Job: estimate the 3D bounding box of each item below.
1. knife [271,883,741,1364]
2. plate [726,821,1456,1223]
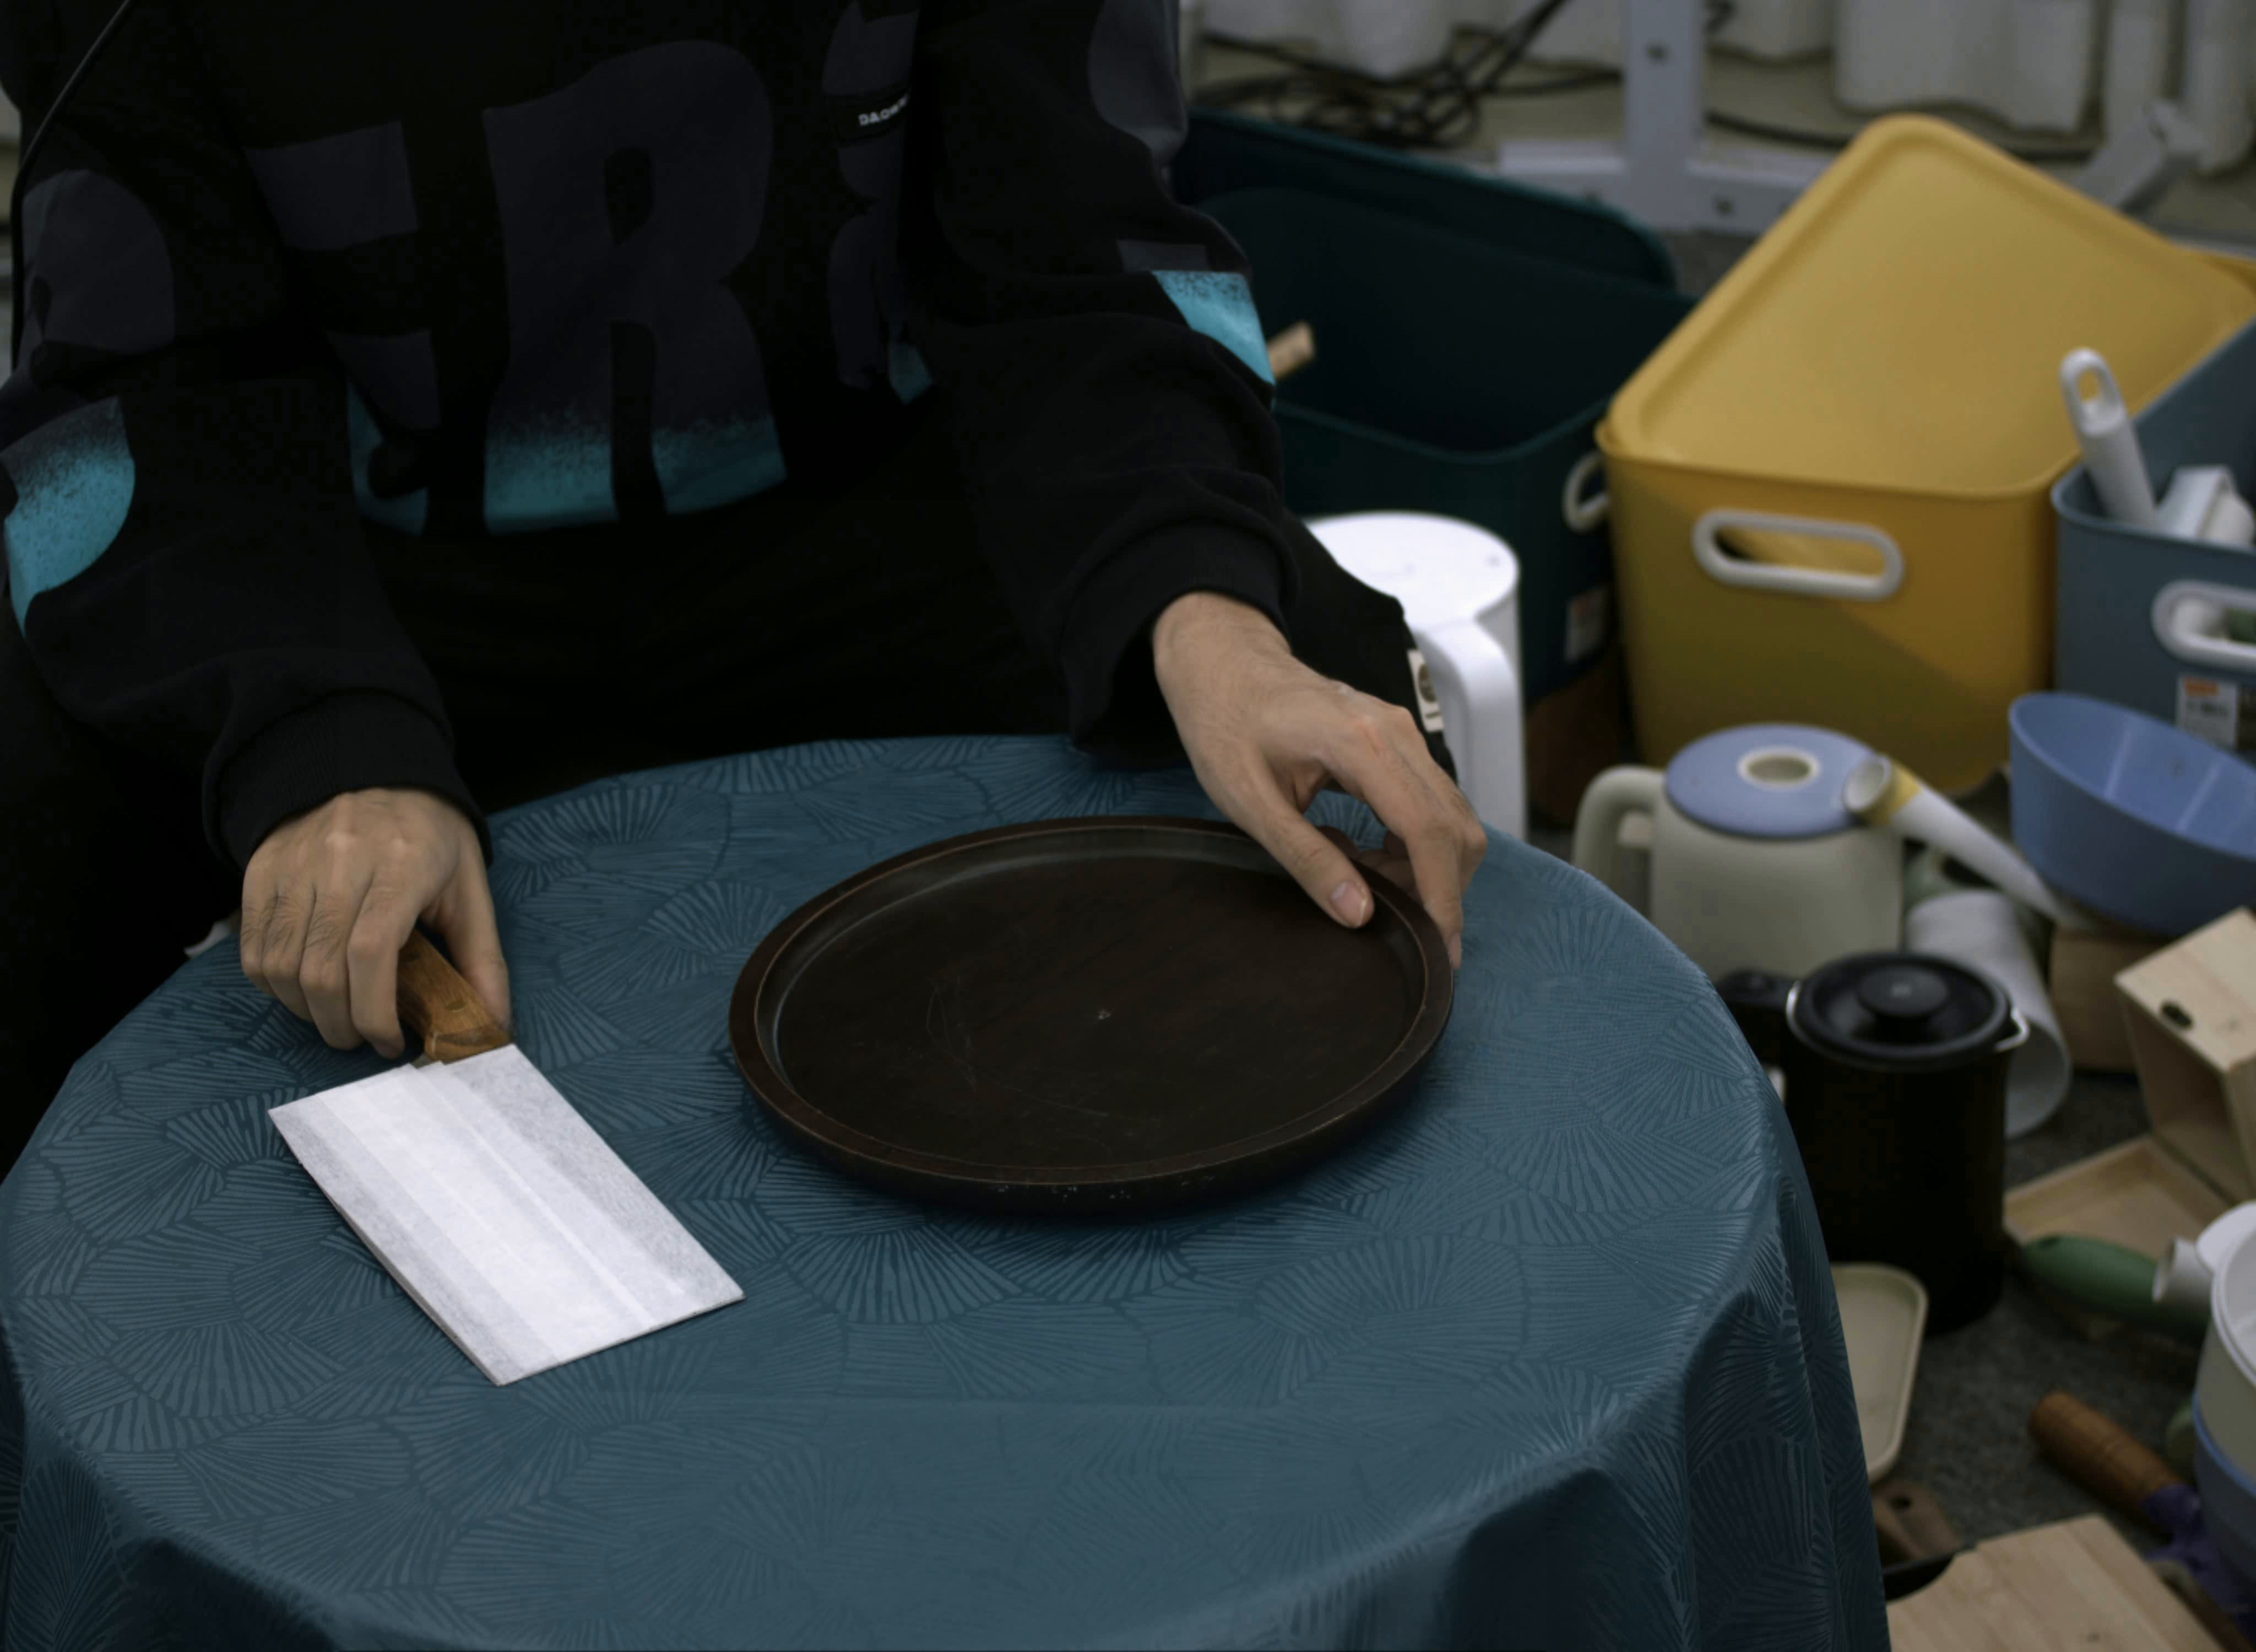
[{"bbox_3d":[-0.236,0.101,1.908,0.093,0.021,0.307,-18,33,-25],"label":"knife"},{"bbox_3d":[-0.013,0.065,1.943,0.253,0.029,0.259,-3,29,2],"label":"plate"}]
